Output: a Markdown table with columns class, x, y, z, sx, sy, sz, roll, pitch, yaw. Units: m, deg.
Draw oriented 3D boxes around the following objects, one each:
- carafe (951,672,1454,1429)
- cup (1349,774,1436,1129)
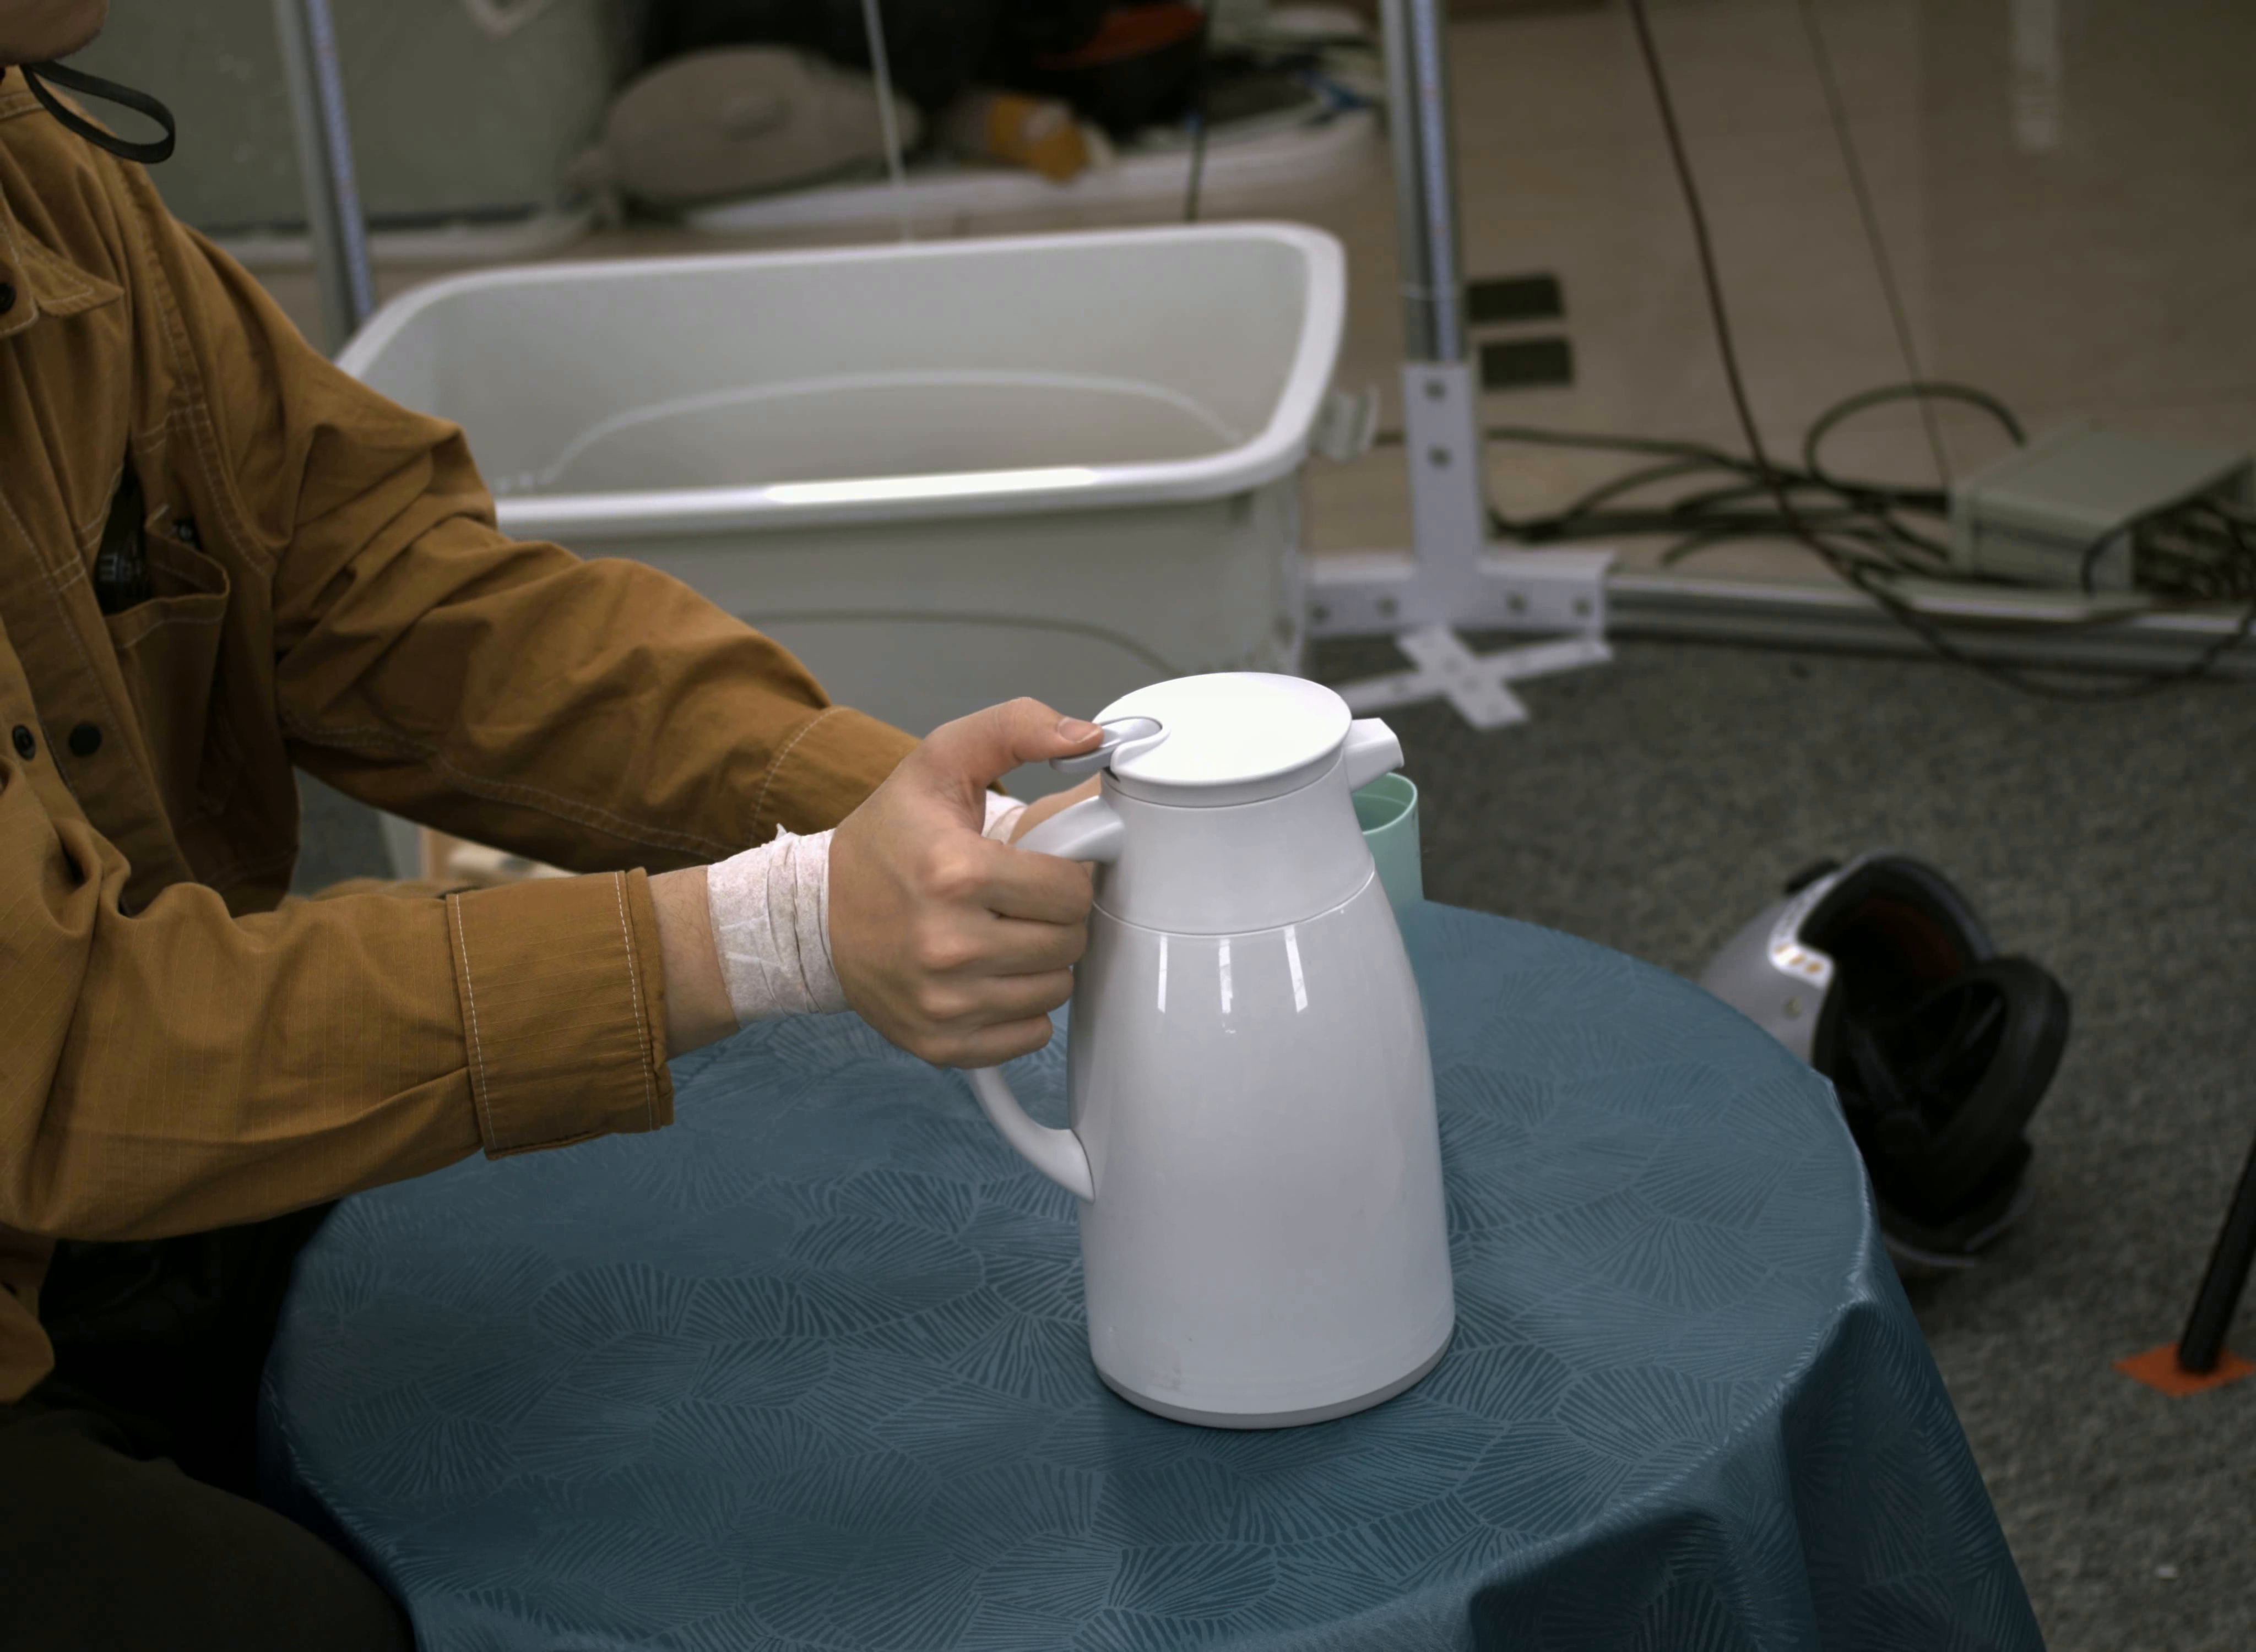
| class | x | y | z | sx | sy | sz | roll | pitch | yaw |
| --- | --- | --- | --- | --- | --- | --- | --- | --- | --- |
| carafe | 0.023 | 0.076 | 1.979 | 0.167 | 0.253 | 0.131 | -13 | 27 | -14 |
| cup | 0.082 | 0.052 | 2.153 | 0.066 | 0.134 | 0.066 | -3 | 25 | 2 |
